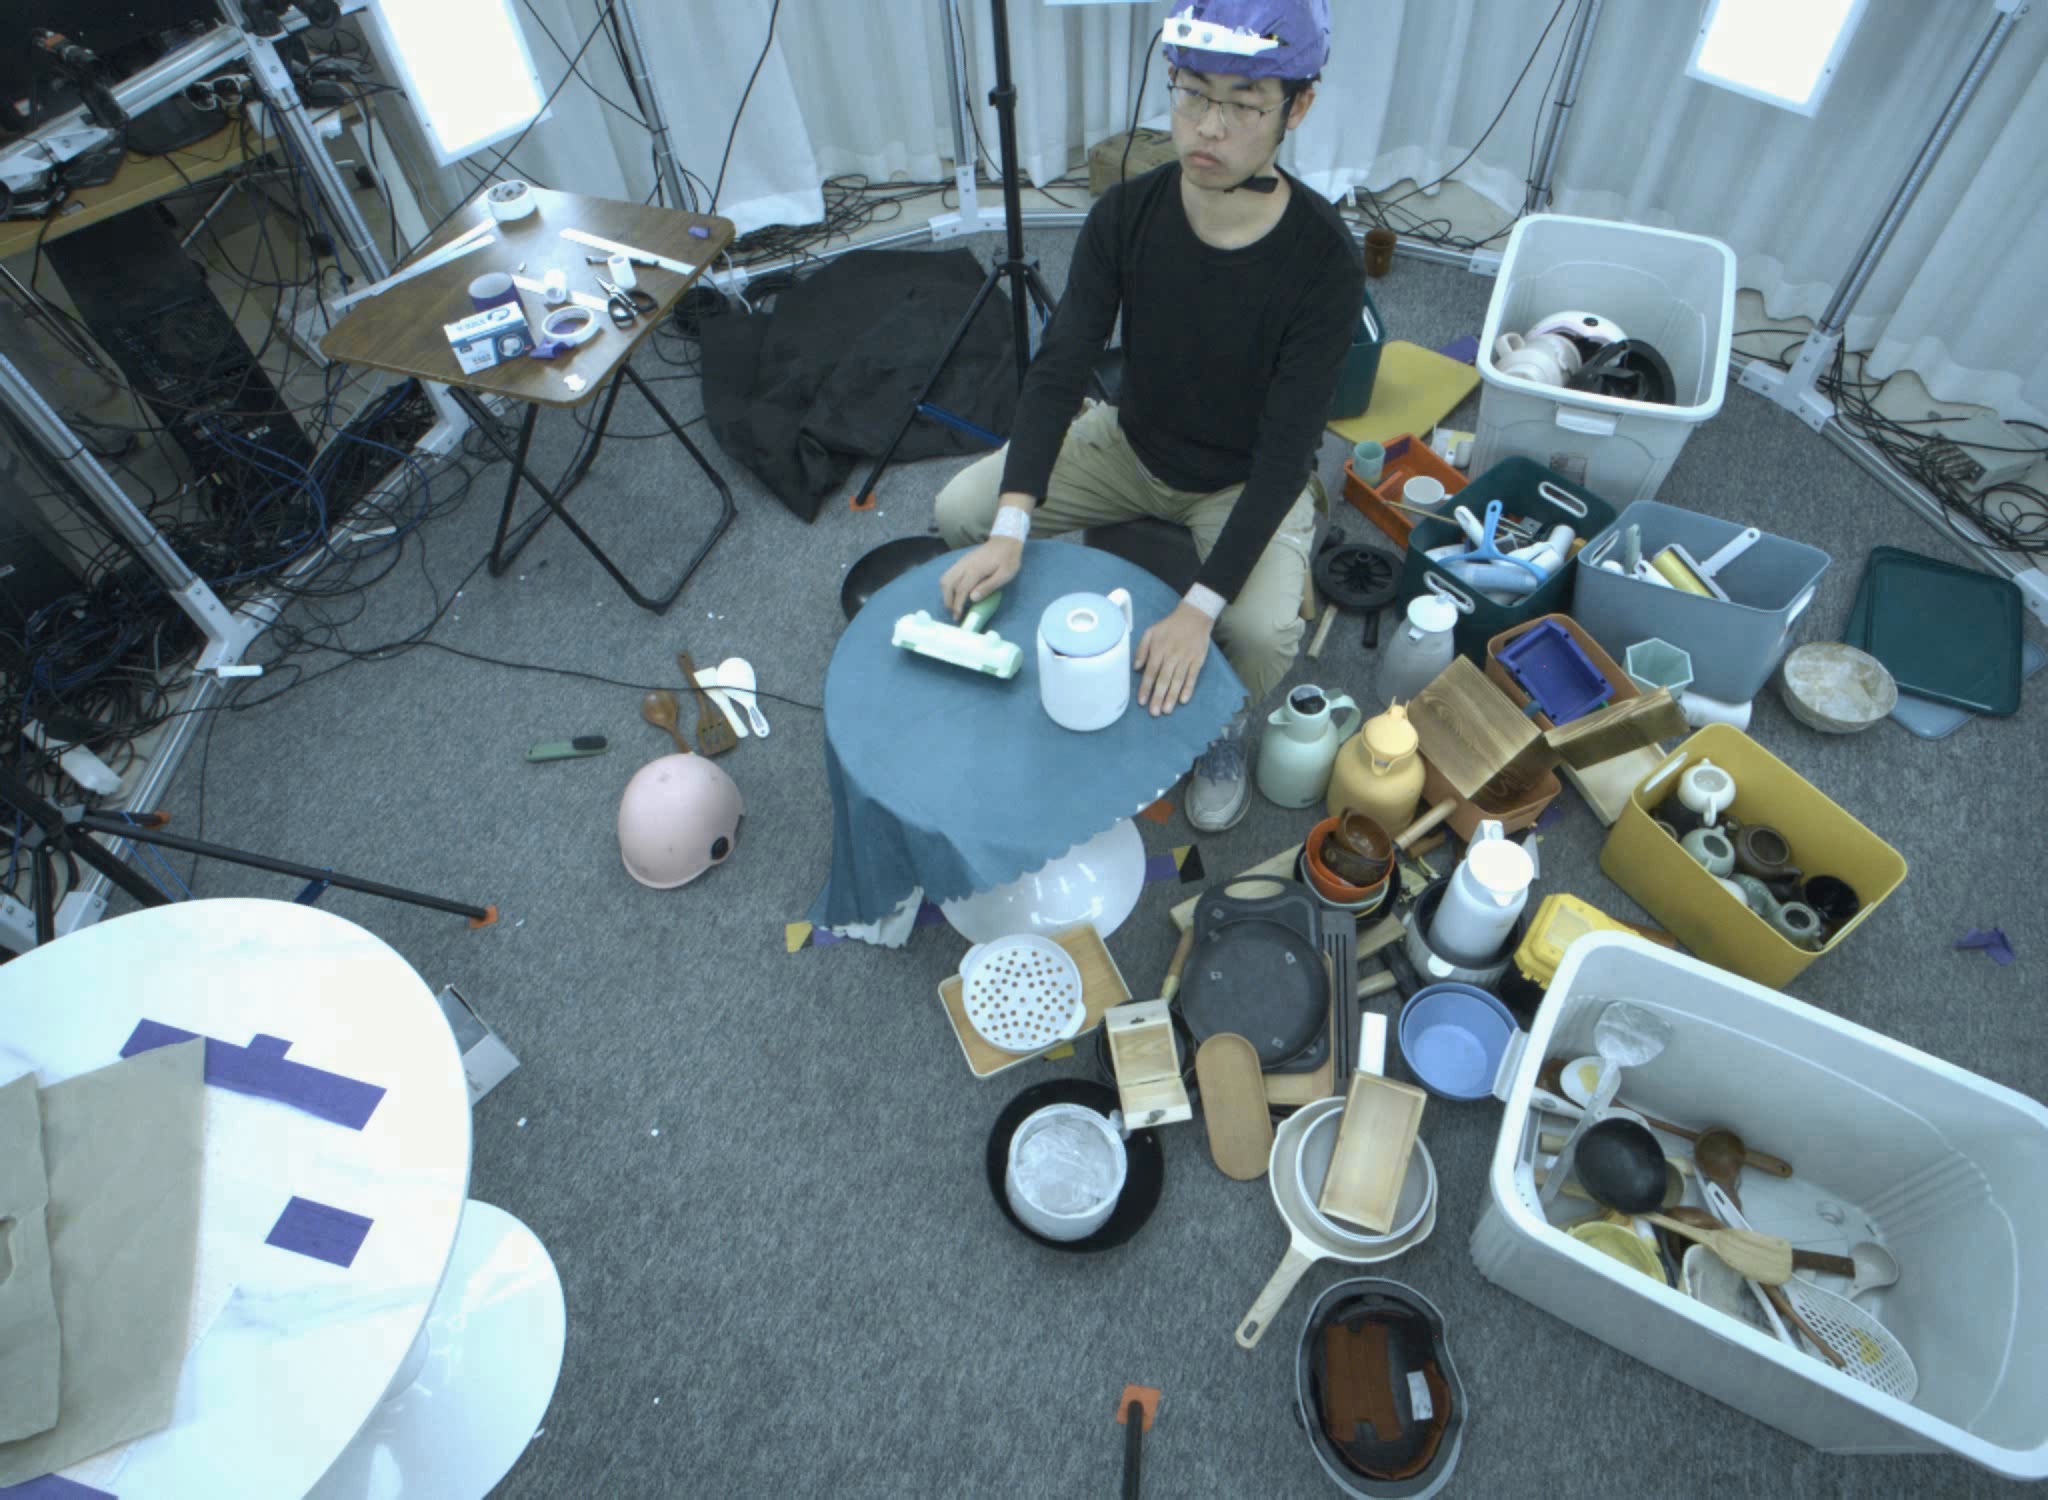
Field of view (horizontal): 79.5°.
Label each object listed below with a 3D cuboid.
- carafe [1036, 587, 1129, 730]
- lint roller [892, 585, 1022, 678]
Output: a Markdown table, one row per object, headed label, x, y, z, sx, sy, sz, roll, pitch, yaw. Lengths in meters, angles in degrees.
| label | x | y | z | sx | sy | sz | roll | pitch | yaw |
| --- | --- | --- | --- | --- | --- | --- | --- | --- | --- |
| carafe | 0.099 | -0.144 | 1.780 | 0.130 | 0.184 | 0.192 | 27 | 58 | 20 |
| lint roller | -0.081 | -0.205 | 1.887 | 0.196 | 0.083 | 0.183 | 18 | 60 | 13 |
